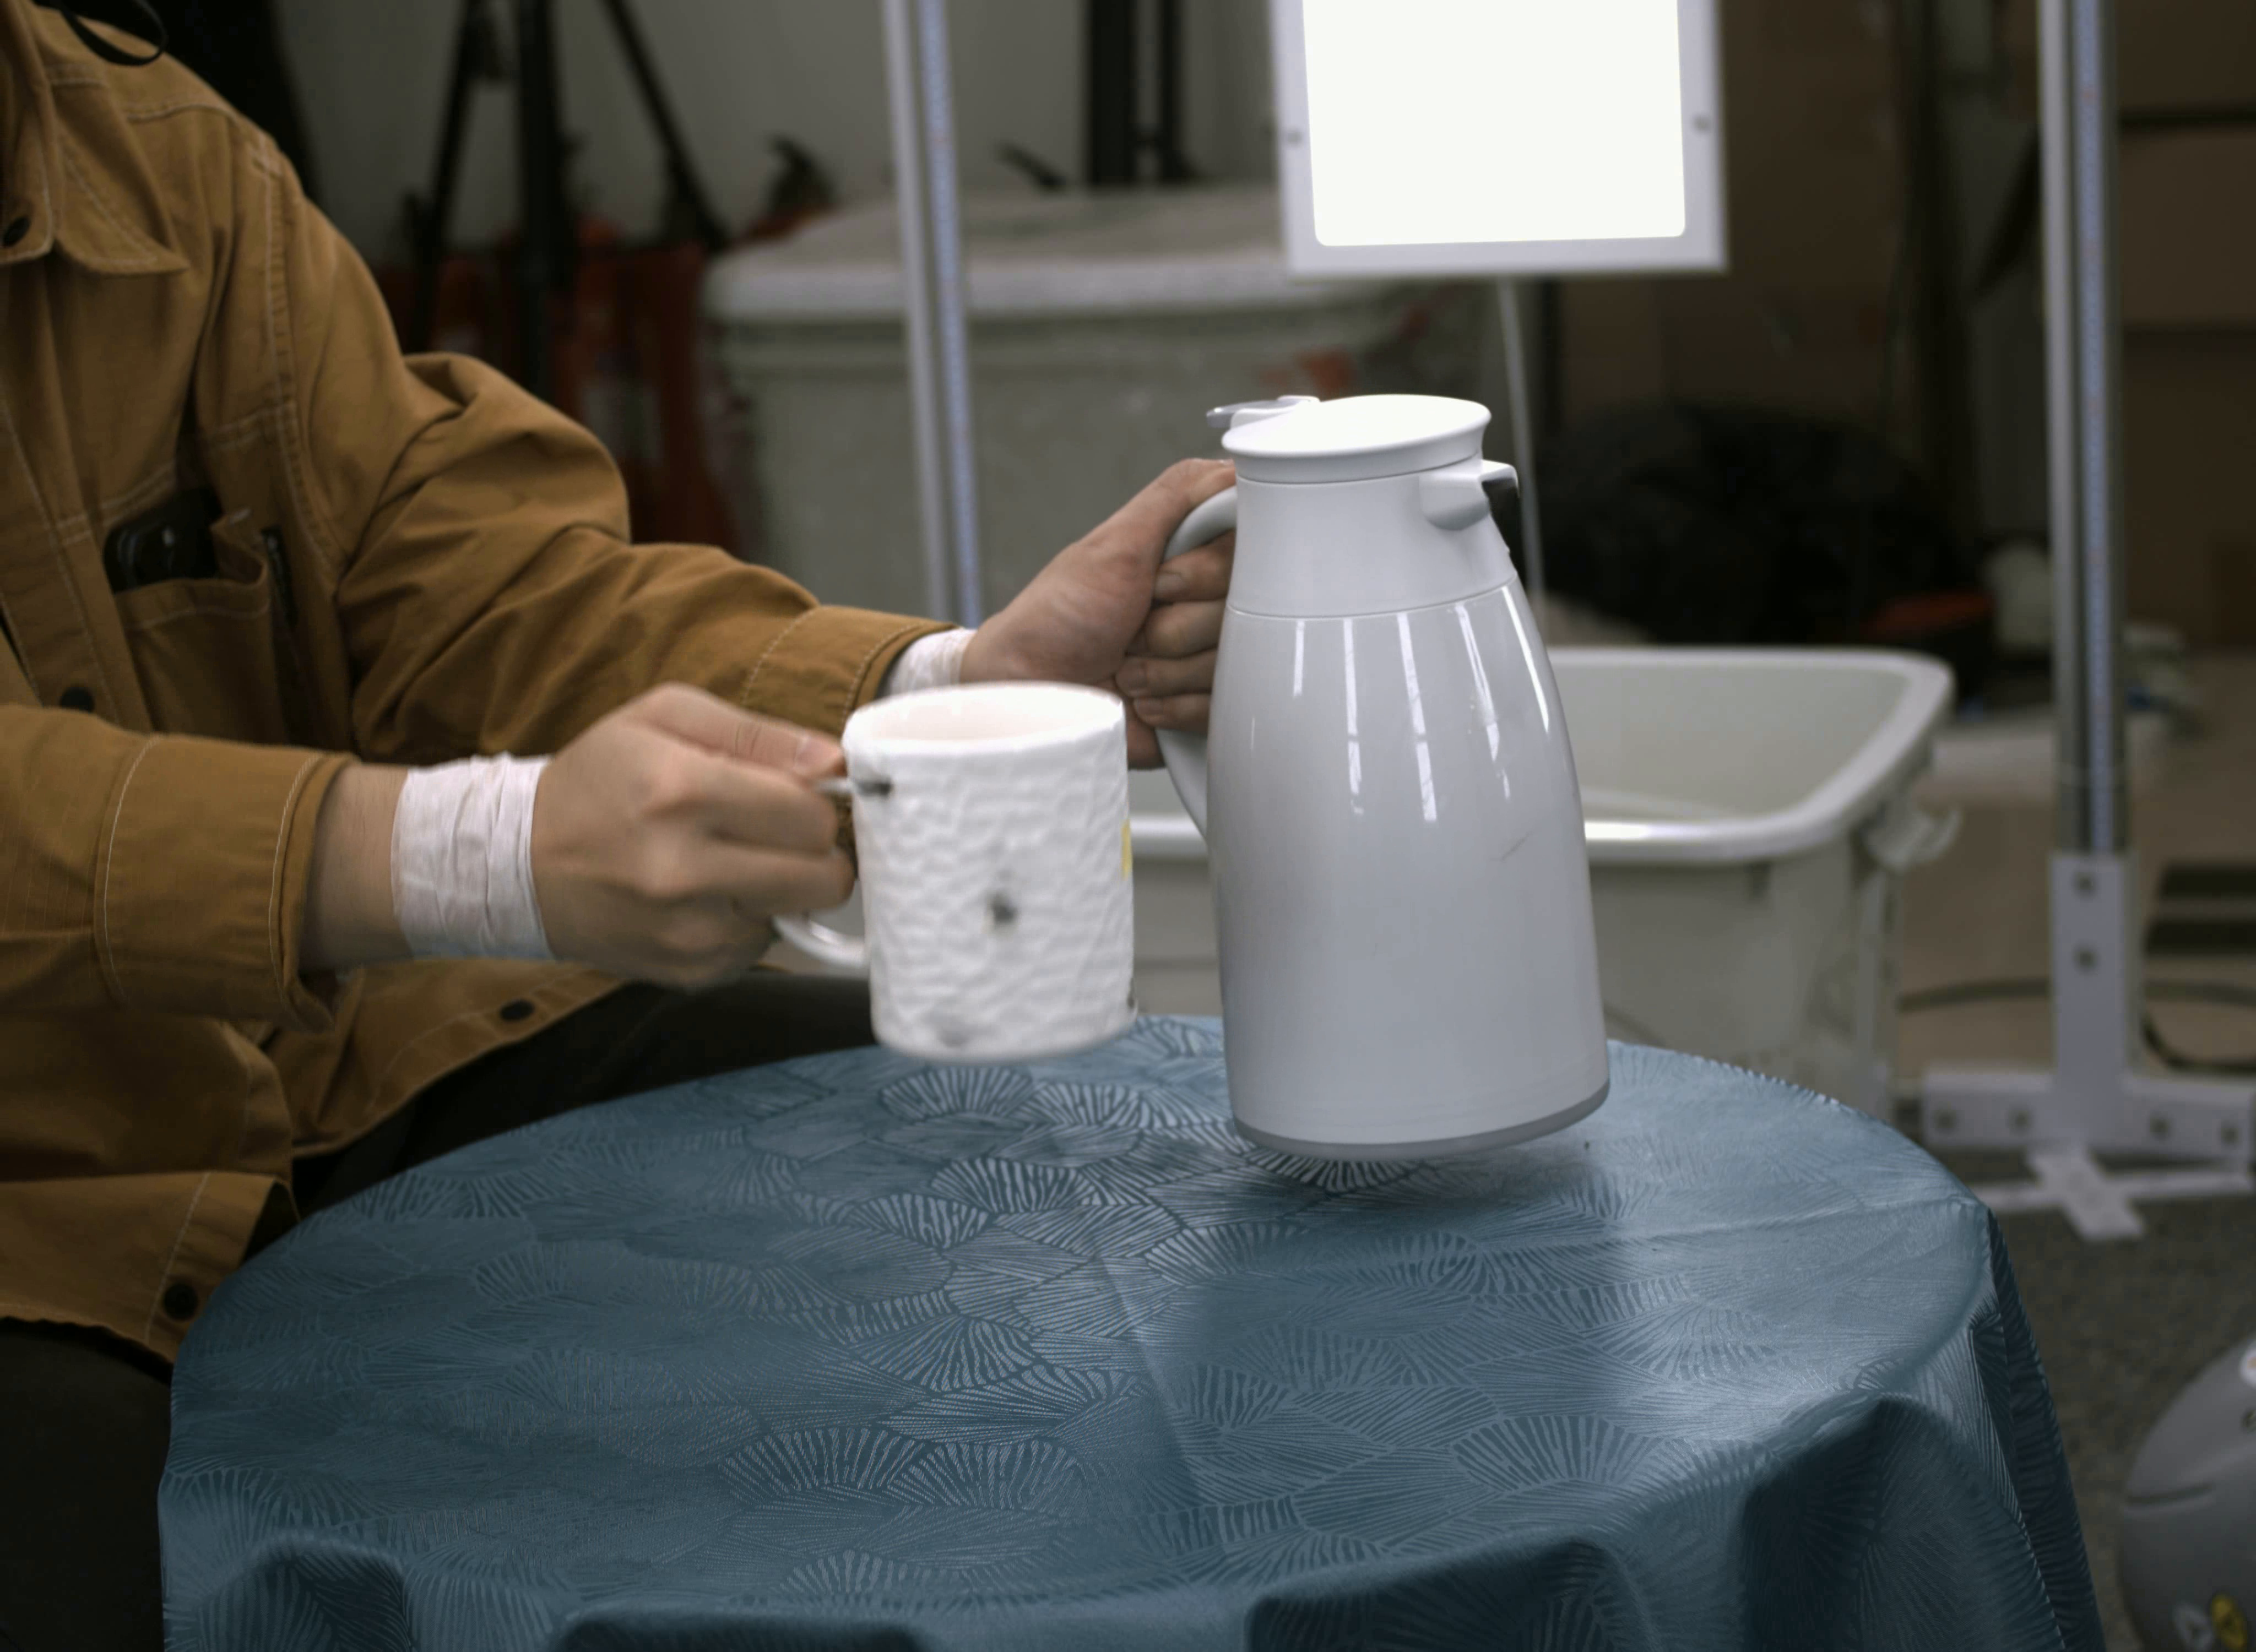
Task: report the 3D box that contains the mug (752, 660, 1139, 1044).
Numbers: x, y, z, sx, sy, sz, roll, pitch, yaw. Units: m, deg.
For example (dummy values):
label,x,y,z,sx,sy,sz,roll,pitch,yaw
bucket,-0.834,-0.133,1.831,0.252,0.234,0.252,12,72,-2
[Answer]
label,x,y,z,sx,sy,sz,roll,pitch,yaw
mug,-0.056,0.008,1.697,0.119,0.102,0.084,-2,14,10

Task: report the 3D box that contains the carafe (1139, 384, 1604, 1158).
label,x,y,z,sx,sy,sz,roll,pitch,yaw
carafe,0.073,-0.026,1.885,0.171,0.249,0.129,7,20,44
